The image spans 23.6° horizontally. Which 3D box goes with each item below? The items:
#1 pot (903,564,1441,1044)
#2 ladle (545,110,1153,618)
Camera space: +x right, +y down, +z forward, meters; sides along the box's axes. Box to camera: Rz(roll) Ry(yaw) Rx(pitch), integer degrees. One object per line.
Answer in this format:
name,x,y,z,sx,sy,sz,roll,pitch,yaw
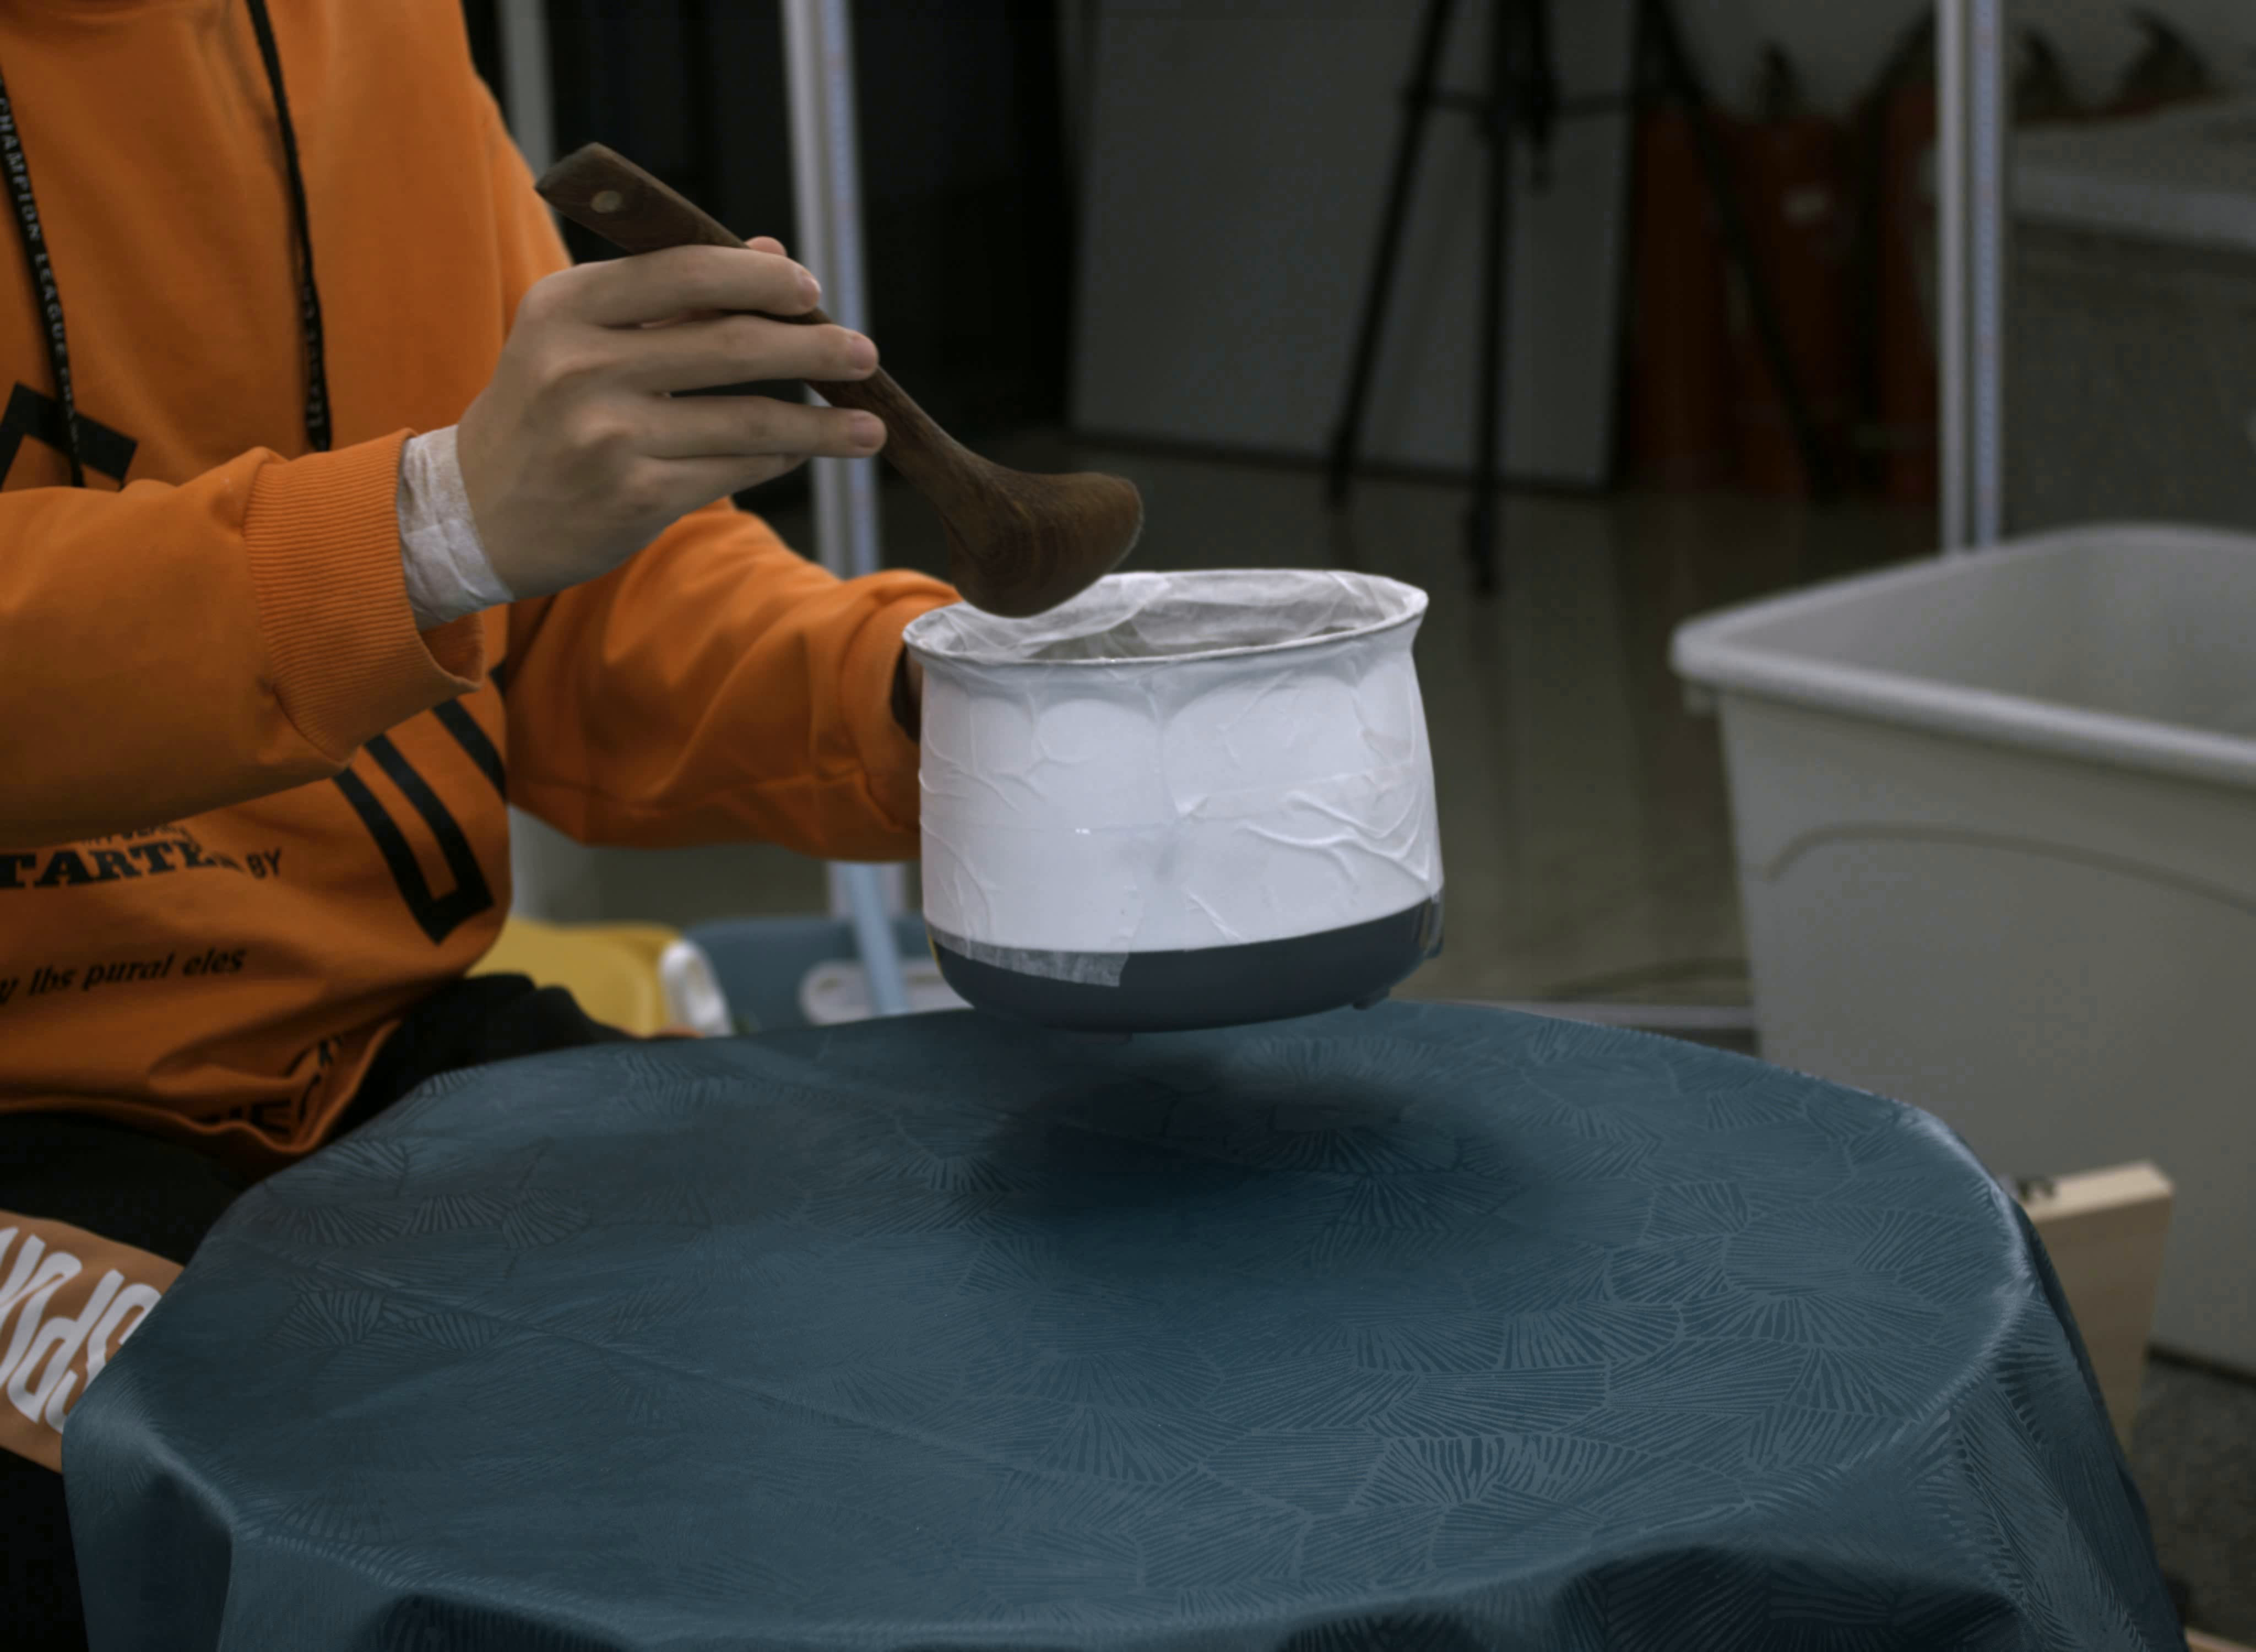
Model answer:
pot,0.006,-0.014,1.830,0.175,0.138,0.236,-7,11,-19
ladle,-0.091,-0.155,1.735,0.076,0.270,0.072,-41,35,14
